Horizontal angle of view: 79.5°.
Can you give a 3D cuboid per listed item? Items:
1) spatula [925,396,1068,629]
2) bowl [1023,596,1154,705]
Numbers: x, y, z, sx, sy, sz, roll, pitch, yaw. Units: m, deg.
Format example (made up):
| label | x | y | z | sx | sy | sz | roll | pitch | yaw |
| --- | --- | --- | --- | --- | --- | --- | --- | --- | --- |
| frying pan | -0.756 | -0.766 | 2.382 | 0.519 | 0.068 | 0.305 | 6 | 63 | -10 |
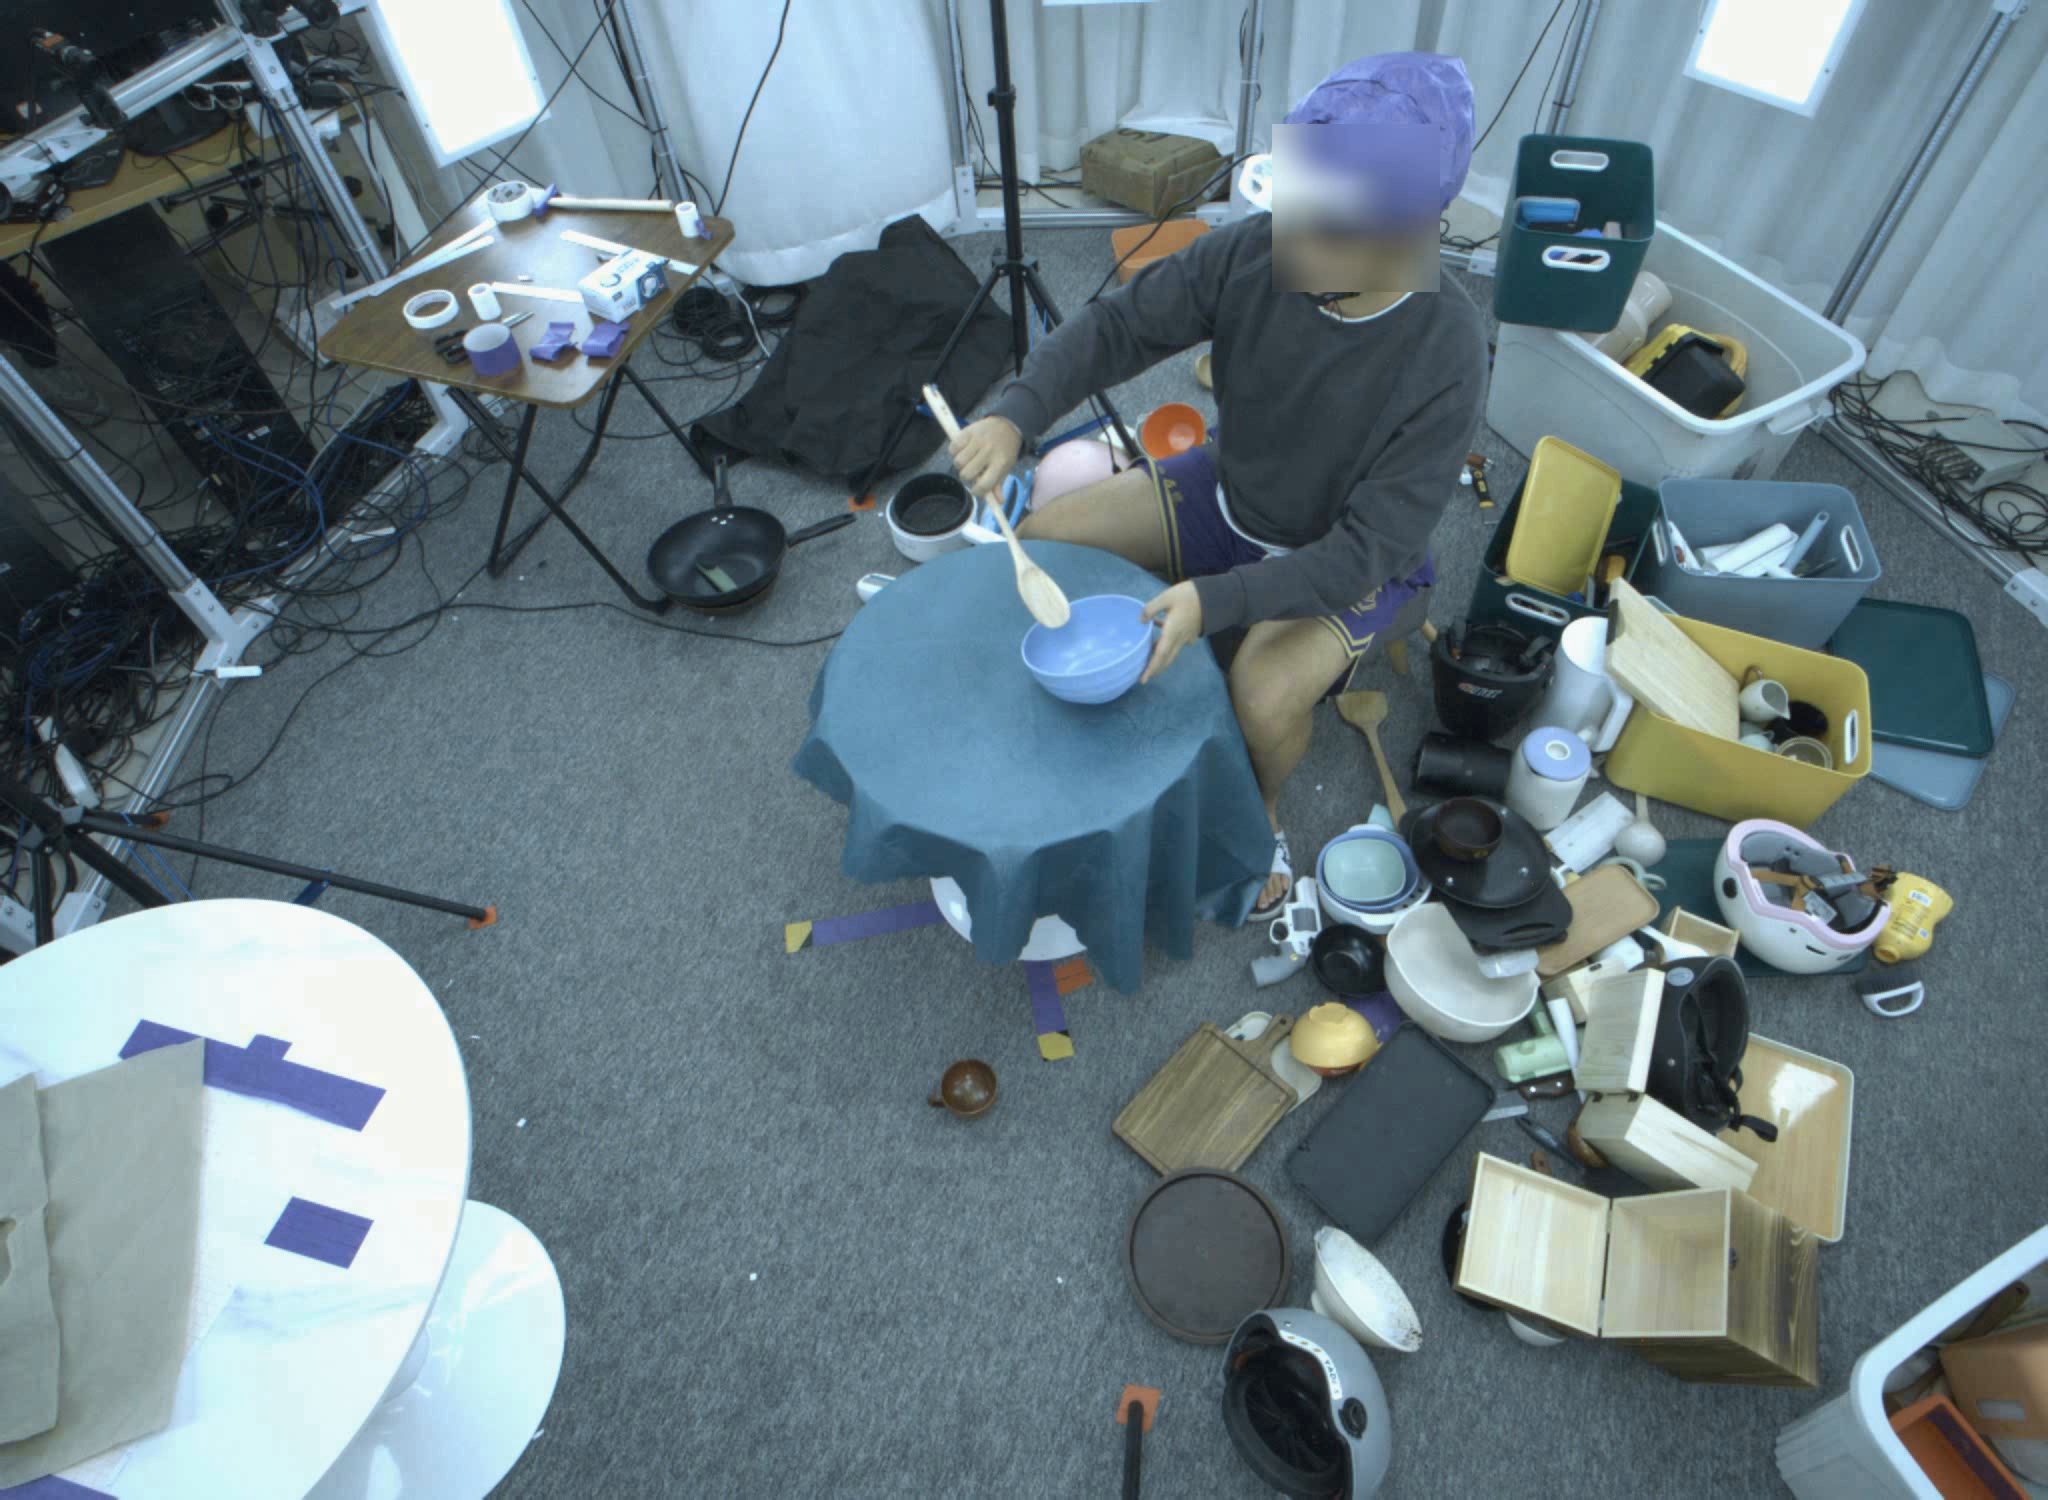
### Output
| label | x | y | z | sx | sy | sz | roll | pitch | yaw |
| --- | --- | --- | --- | --- | --- | --- | --- | --- | --- |
| spatula | -0.049 | -0.343 | 1.726 | 0.392 | 0.018 | 0.097 | 62 | 34 | -5 |
| bowl | 0.105 | -0.132 | 1.803 | 0.195 | 0.097 | 0.194 | -13 | 37 | 12 |
